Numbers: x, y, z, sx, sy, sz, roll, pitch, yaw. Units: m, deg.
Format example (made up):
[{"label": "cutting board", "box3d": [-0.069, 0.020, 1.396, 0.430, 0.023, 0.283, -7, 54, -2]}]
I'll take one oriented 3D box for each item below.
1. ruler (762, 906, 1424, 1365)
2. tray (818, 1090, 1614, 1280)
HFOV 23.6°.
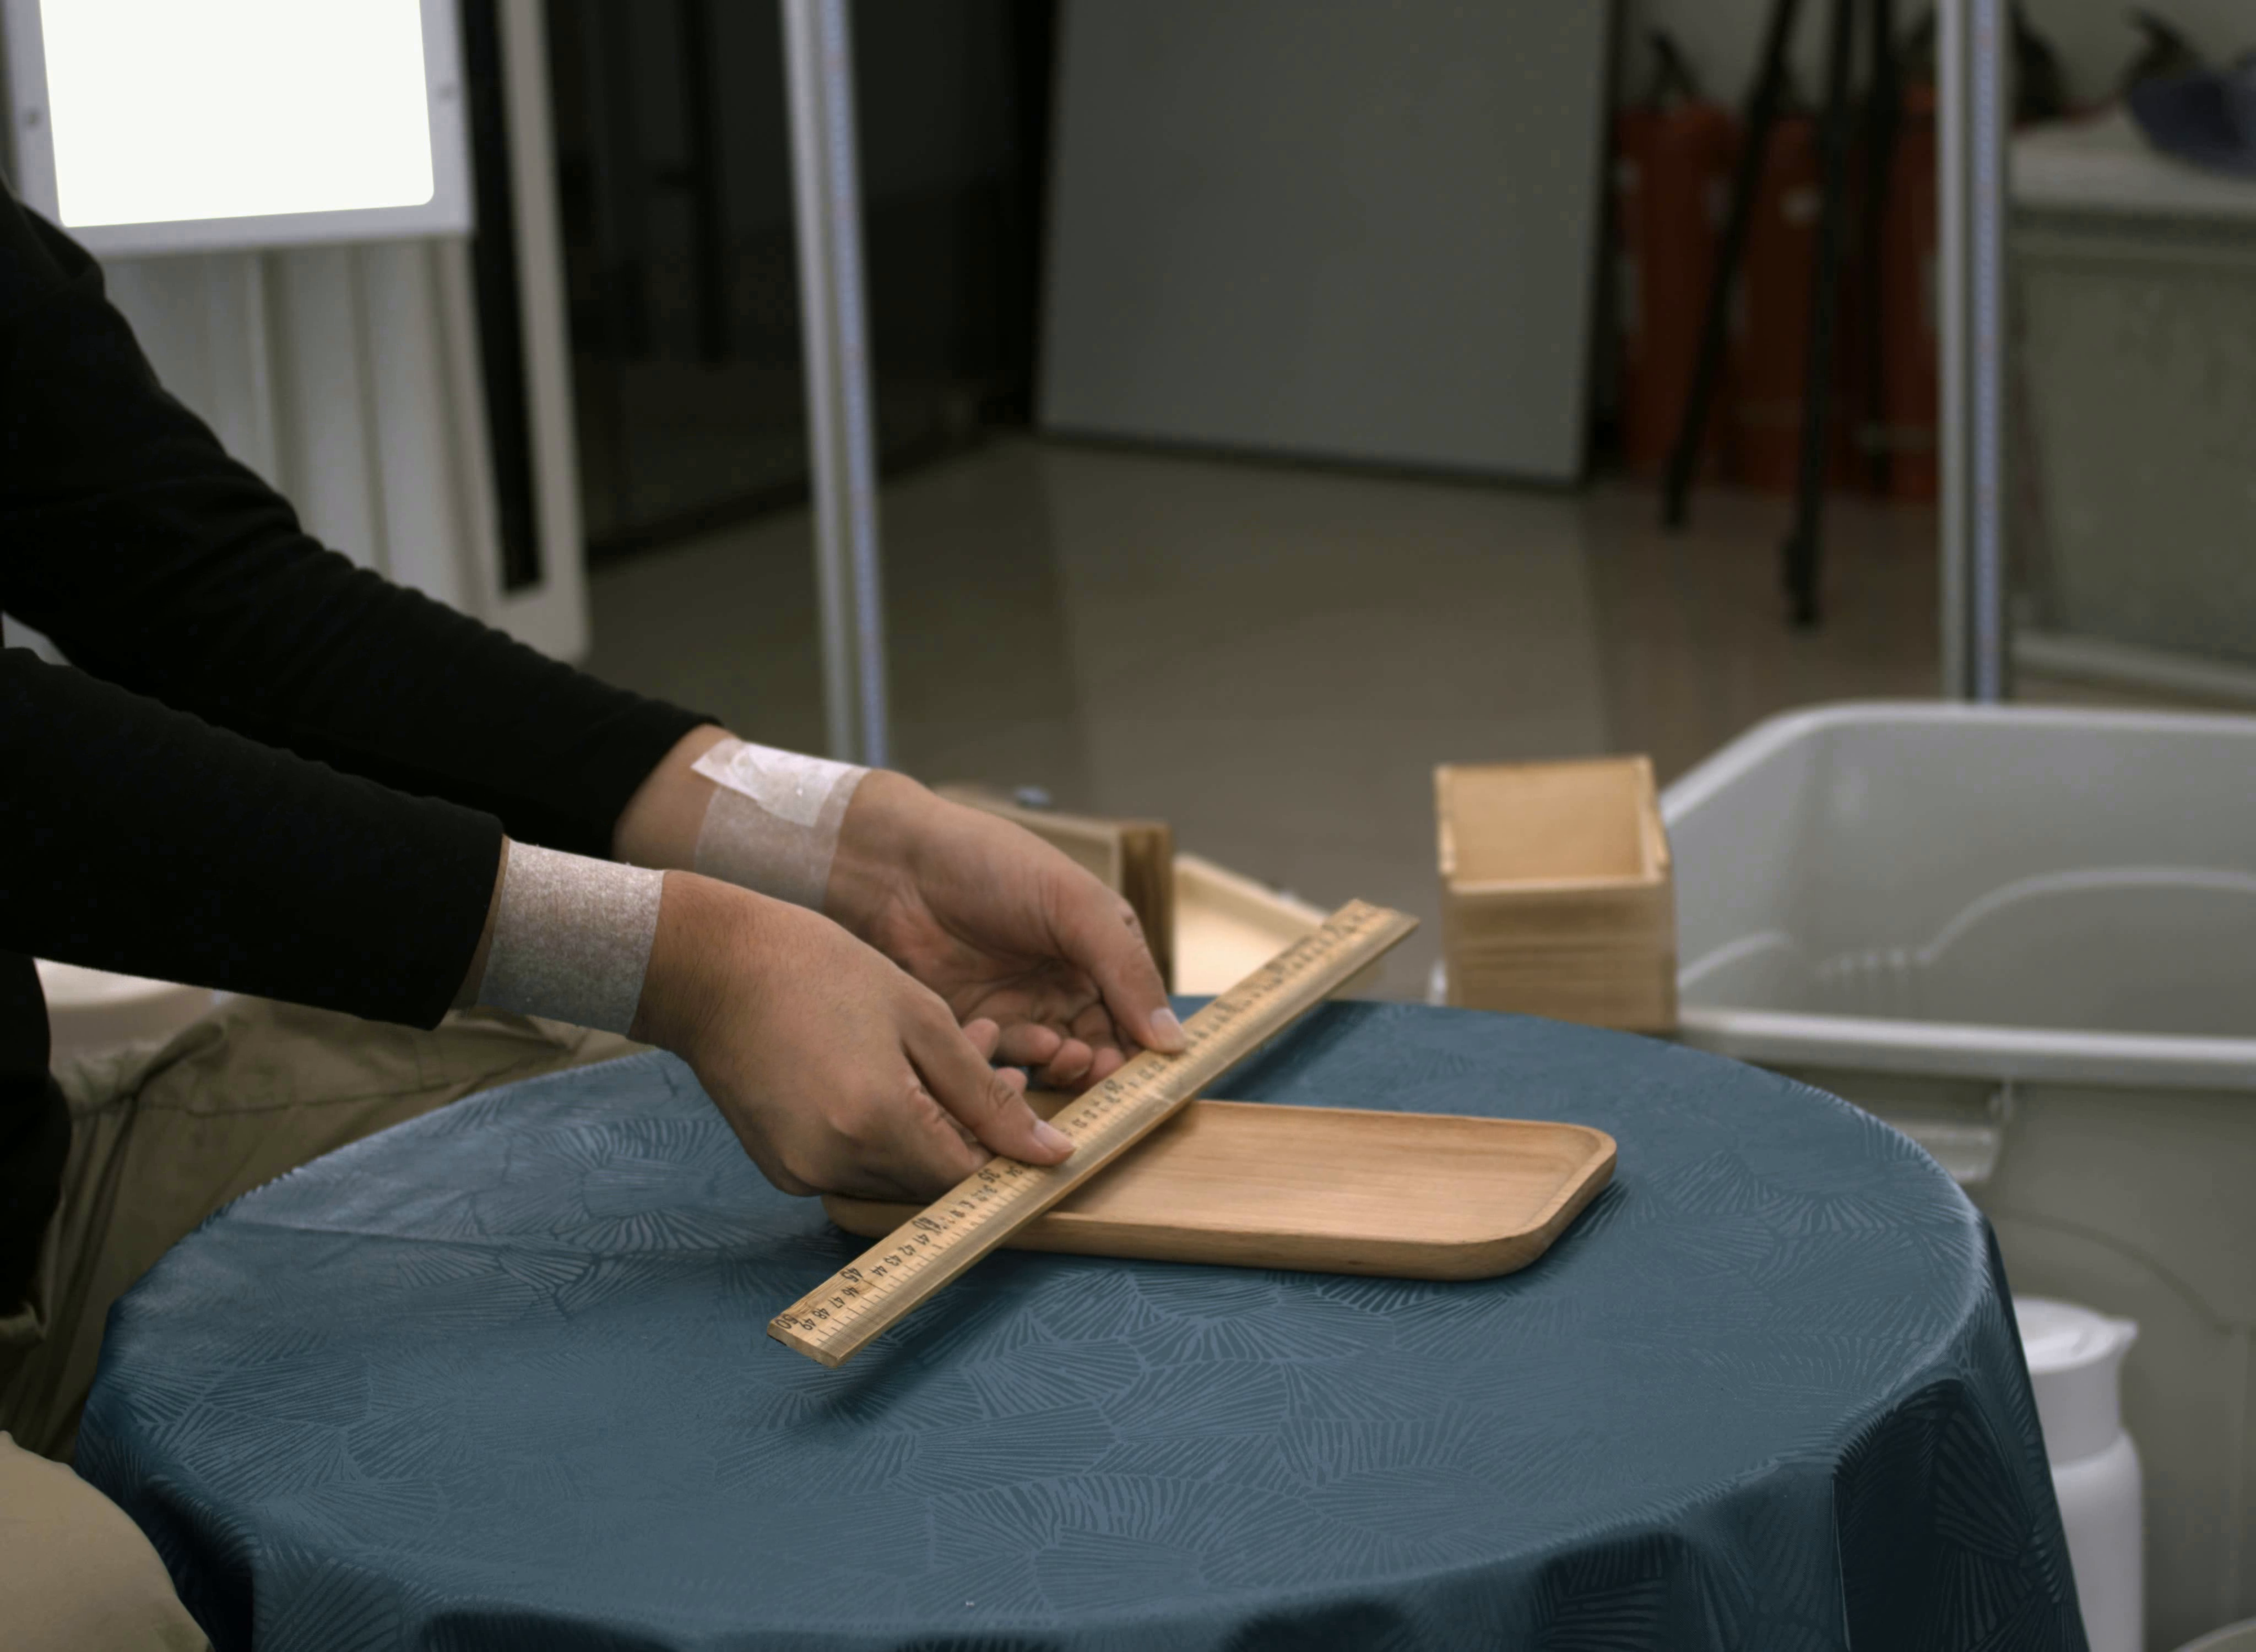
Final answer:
[{"label": "ruler", "box3d": [0.001, 0.093, 1.793, 0.027, 0.006, 0.494, 23, 22, 17]}, {"label": "tray", "box3d": [0.028, 0.116, 1.750, 0.251, 0.023, 0.129, 1, 12, 25]}]
